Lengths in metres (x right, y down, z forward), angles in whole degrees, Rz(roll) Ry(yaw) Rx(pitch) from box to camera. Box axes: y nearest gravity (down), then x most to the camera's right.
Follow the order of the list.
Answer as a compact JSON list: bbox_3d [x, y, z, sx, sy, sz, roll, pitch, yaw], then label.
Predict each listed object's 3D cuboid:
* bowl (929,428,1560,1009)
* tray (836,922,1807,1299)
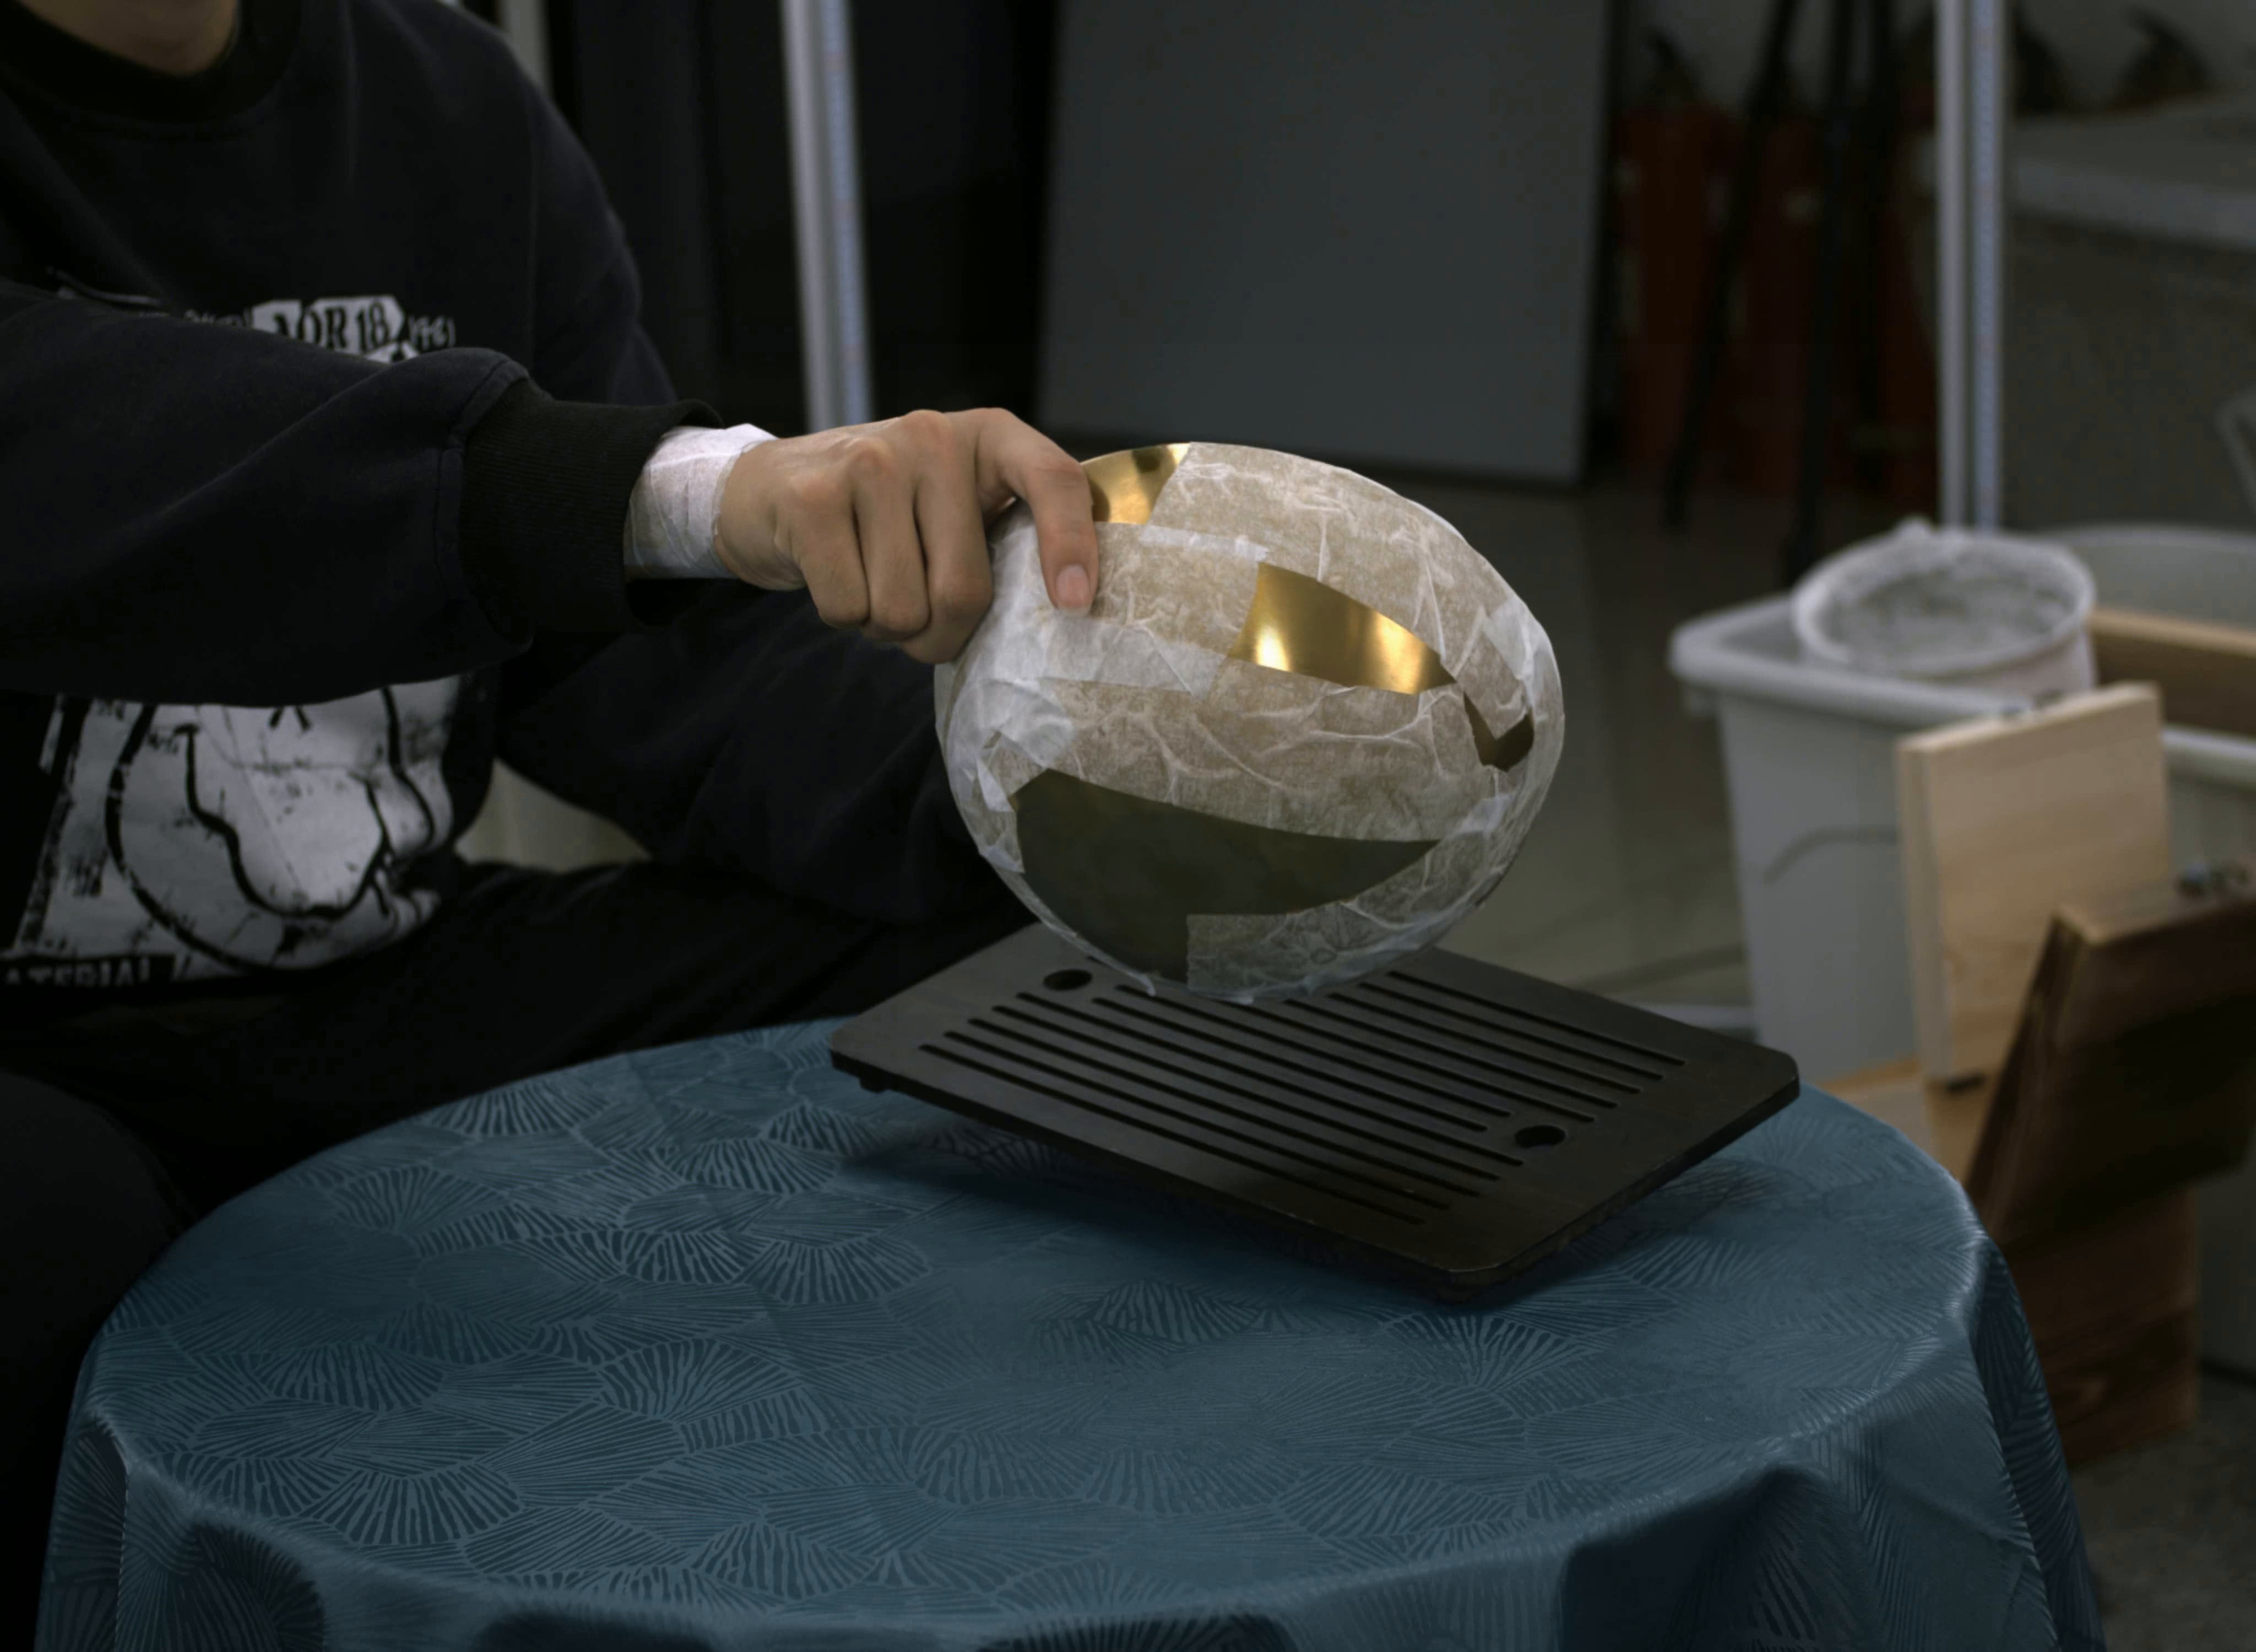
[{"bbox_3d":[0.027,-0.012,1.658,0.214,0.215,0.095,1,42,17],"label":"bowl"},{"bbox_3d":[0.060,0.082,1.781,0.167,0.019,0.309,-27,30,-37],"label":"tray"}]
